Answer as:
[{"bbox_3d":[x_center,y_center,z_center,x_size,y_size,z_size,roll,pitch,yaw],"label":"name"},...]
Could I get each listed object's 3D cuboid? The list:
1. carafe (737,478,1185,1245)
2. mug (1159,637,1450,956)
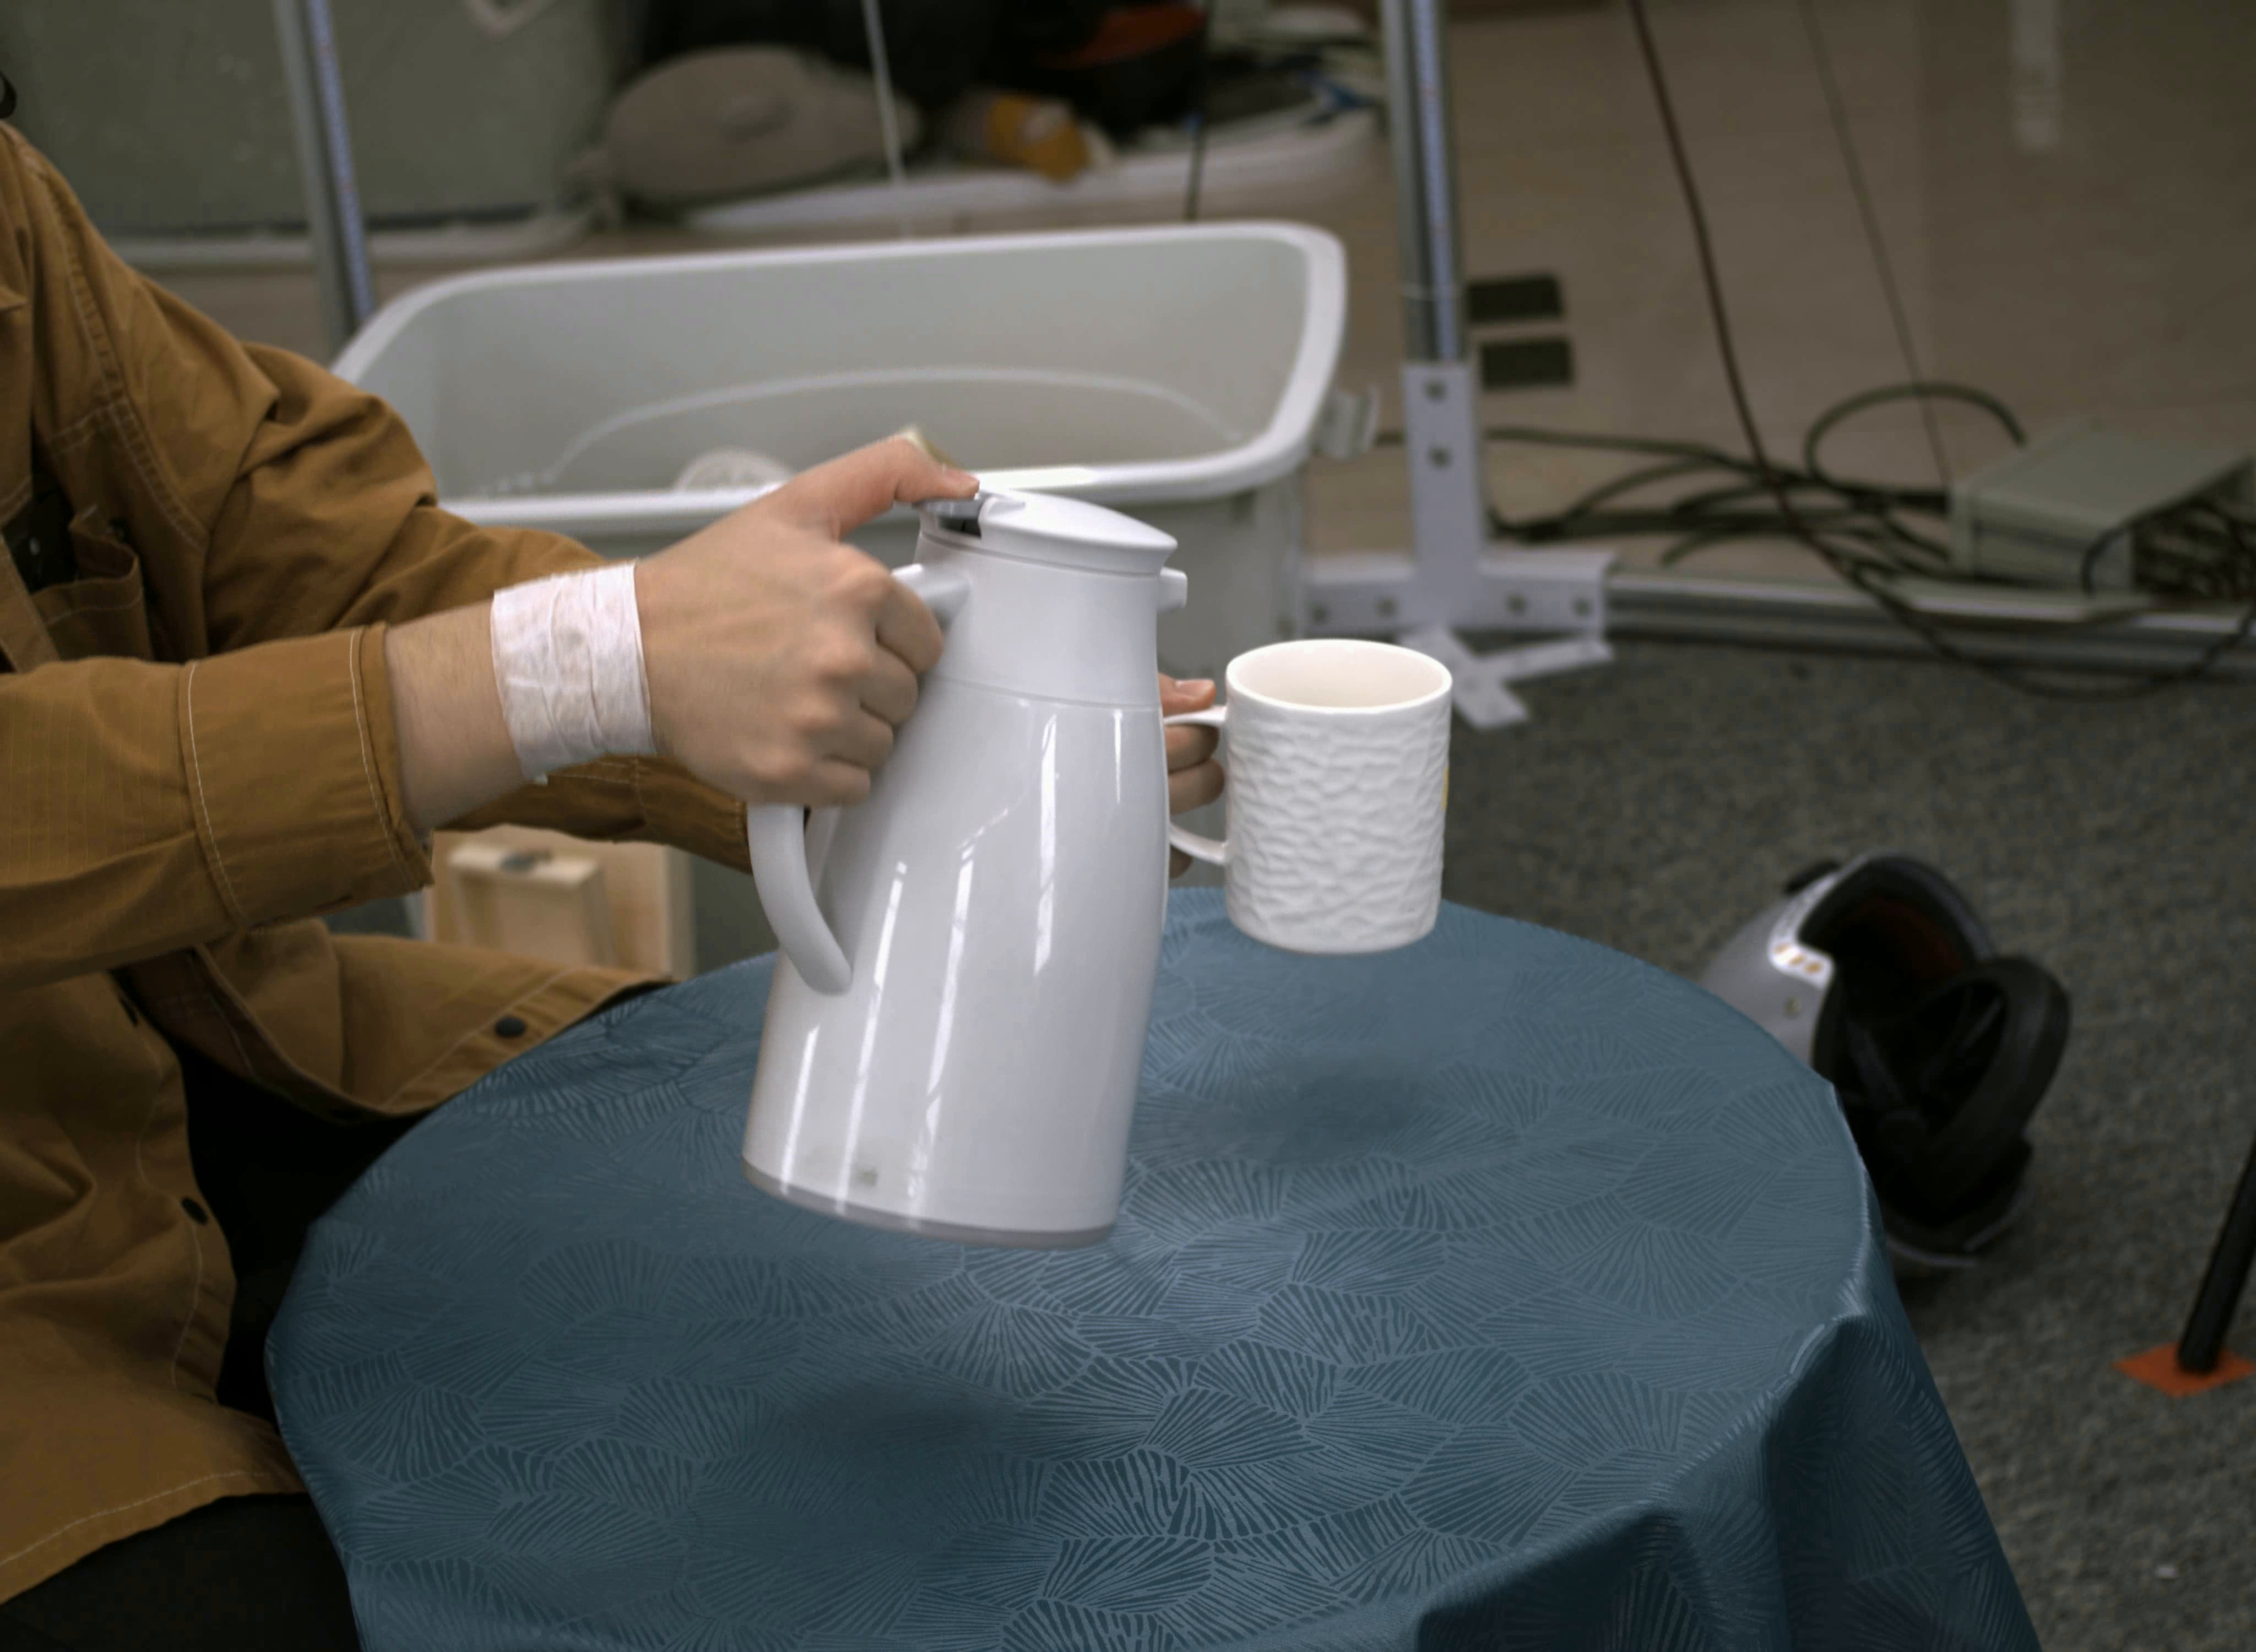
[{"bbox_3d":[-0.061,0.007,1.928,0.168,0.250,0.131,1,13,-45],"label":"carafe"},{"bbox_3d":[0.062,-0.012,2.162,0.118,0.103,0.084,2,21,5],"label":"mug"}]
